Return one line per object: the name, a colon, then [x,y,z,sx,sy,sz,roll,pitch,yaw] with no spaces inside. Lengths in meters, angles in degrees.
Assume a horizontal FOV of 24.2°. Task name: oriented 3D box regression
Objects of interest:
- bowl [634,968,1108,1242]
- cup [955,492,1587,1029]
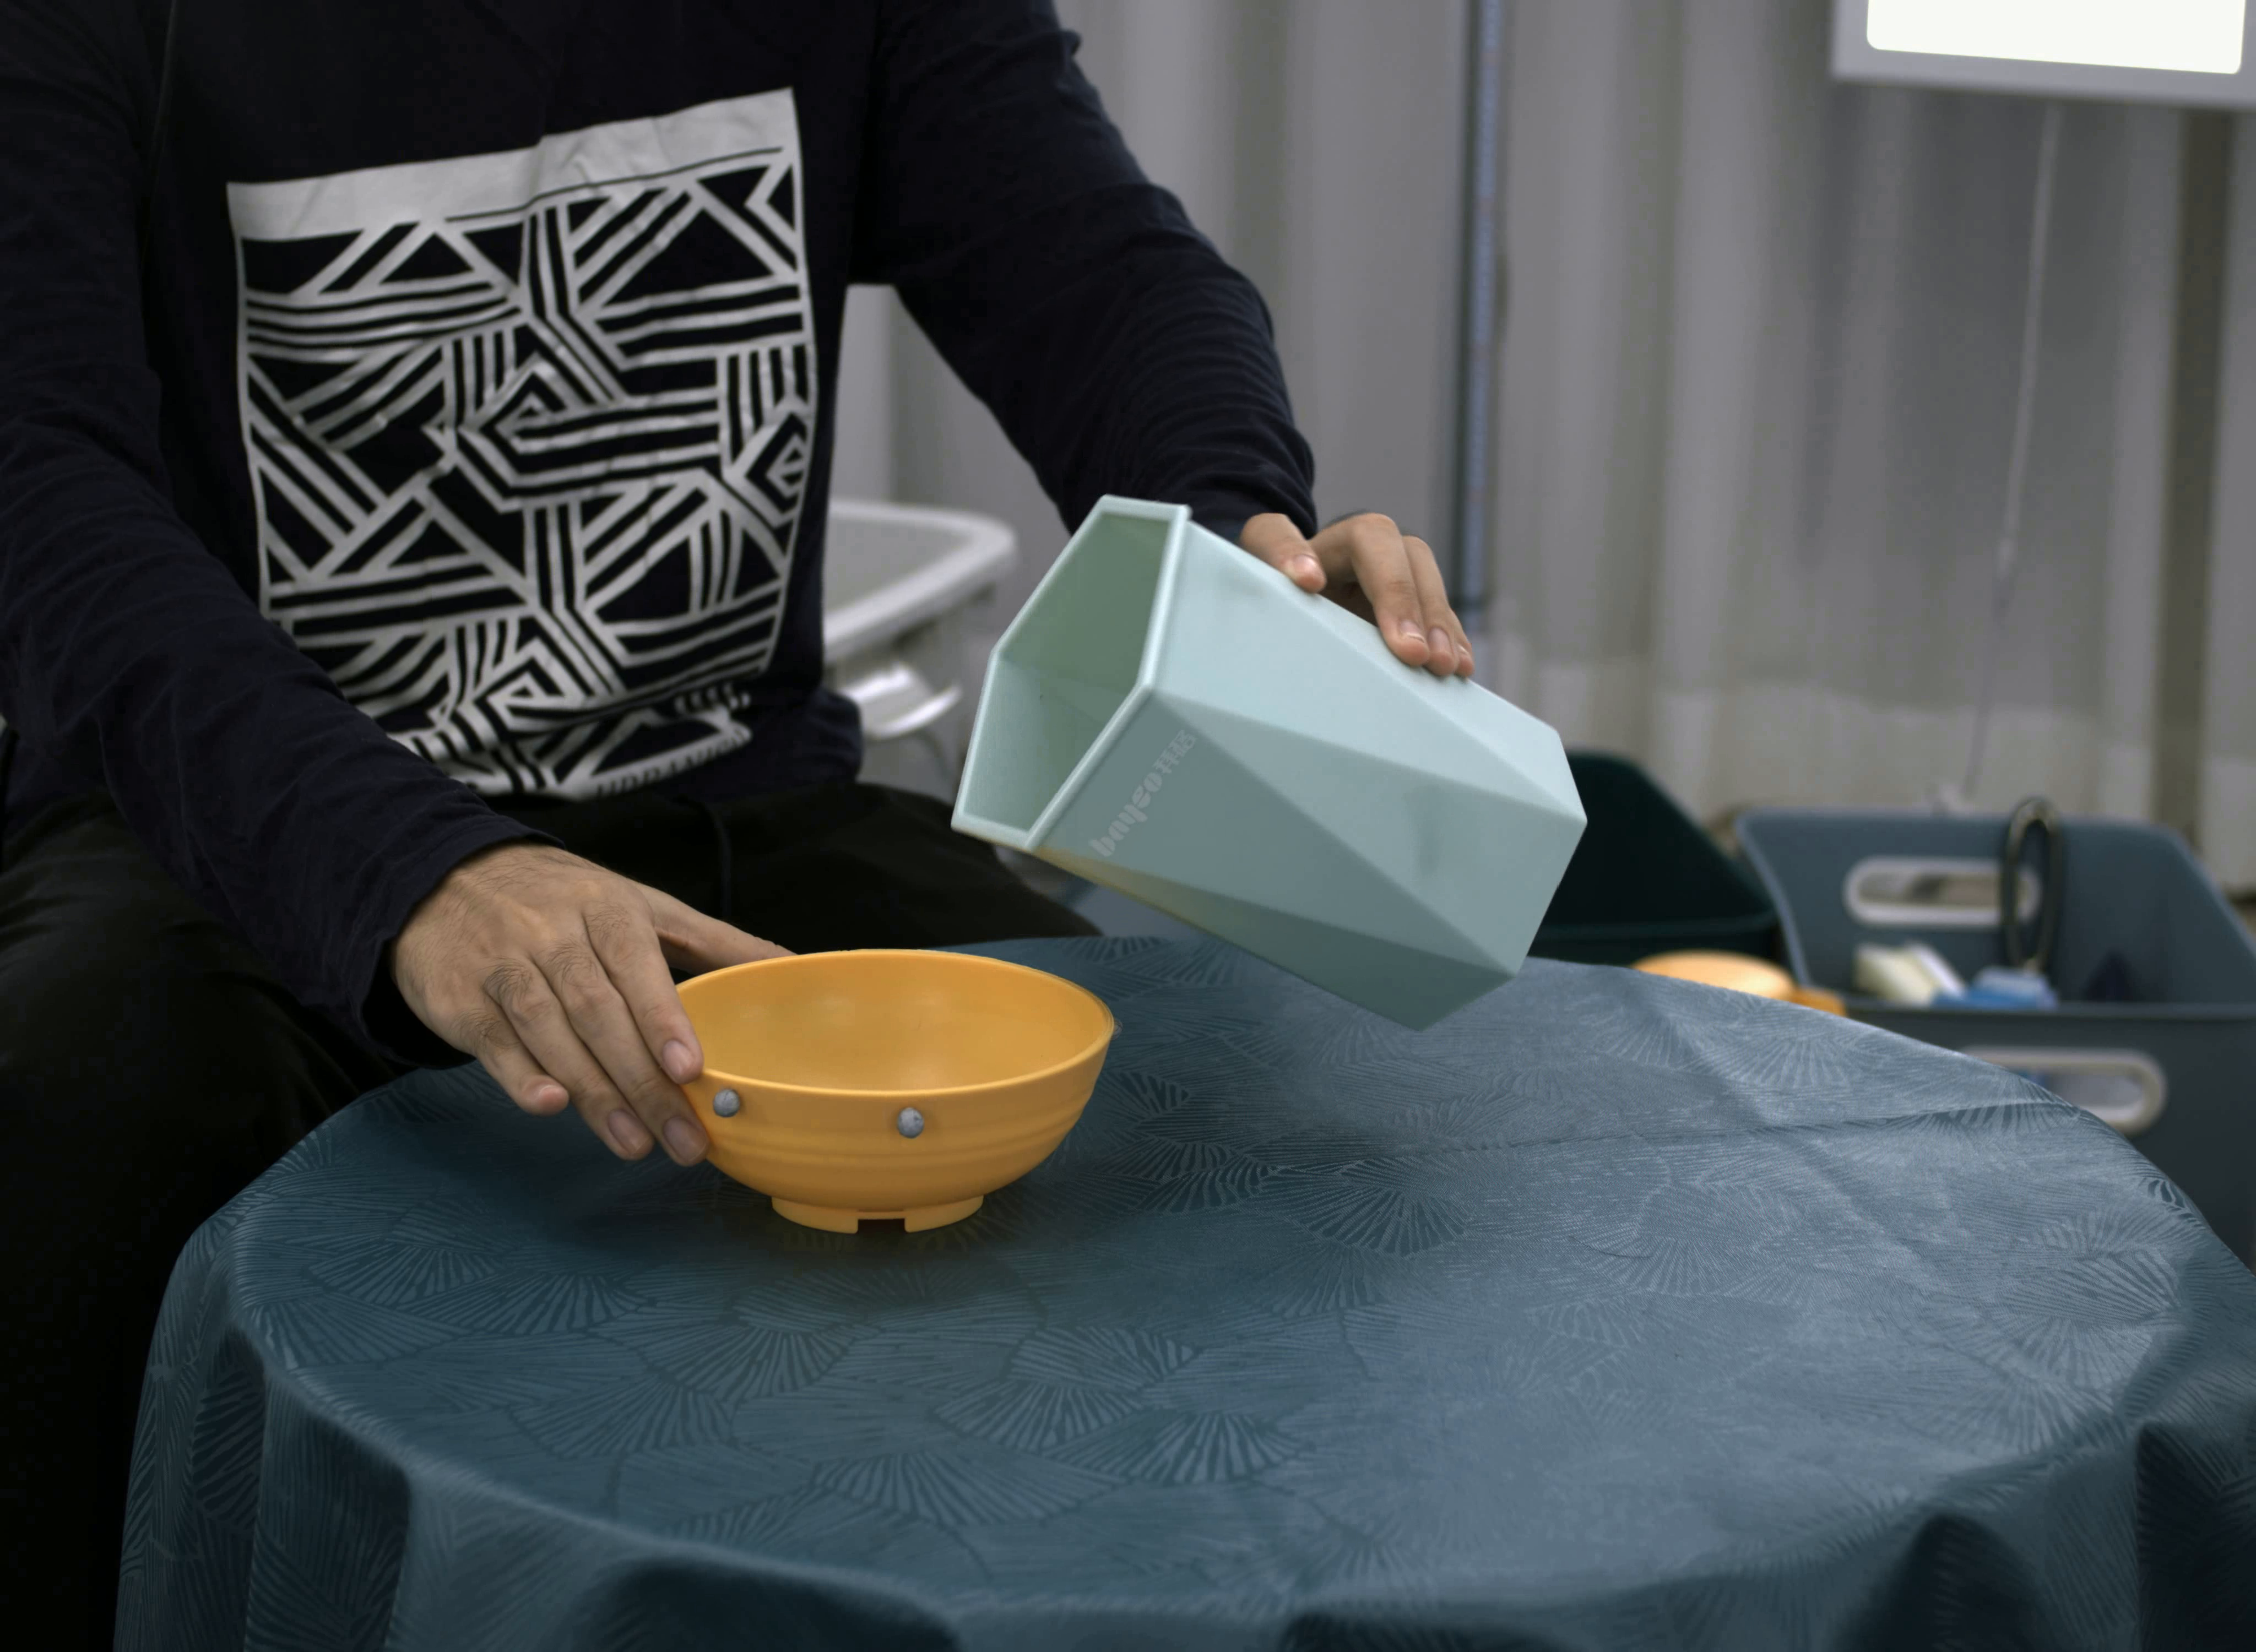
bowl: [-0.078,0.089,1.609,0.145,0.060,0.144,1,13,0]
cup: [0.048,-0.016,1.627,0.164,0.131,0.114,26,25,-21]
